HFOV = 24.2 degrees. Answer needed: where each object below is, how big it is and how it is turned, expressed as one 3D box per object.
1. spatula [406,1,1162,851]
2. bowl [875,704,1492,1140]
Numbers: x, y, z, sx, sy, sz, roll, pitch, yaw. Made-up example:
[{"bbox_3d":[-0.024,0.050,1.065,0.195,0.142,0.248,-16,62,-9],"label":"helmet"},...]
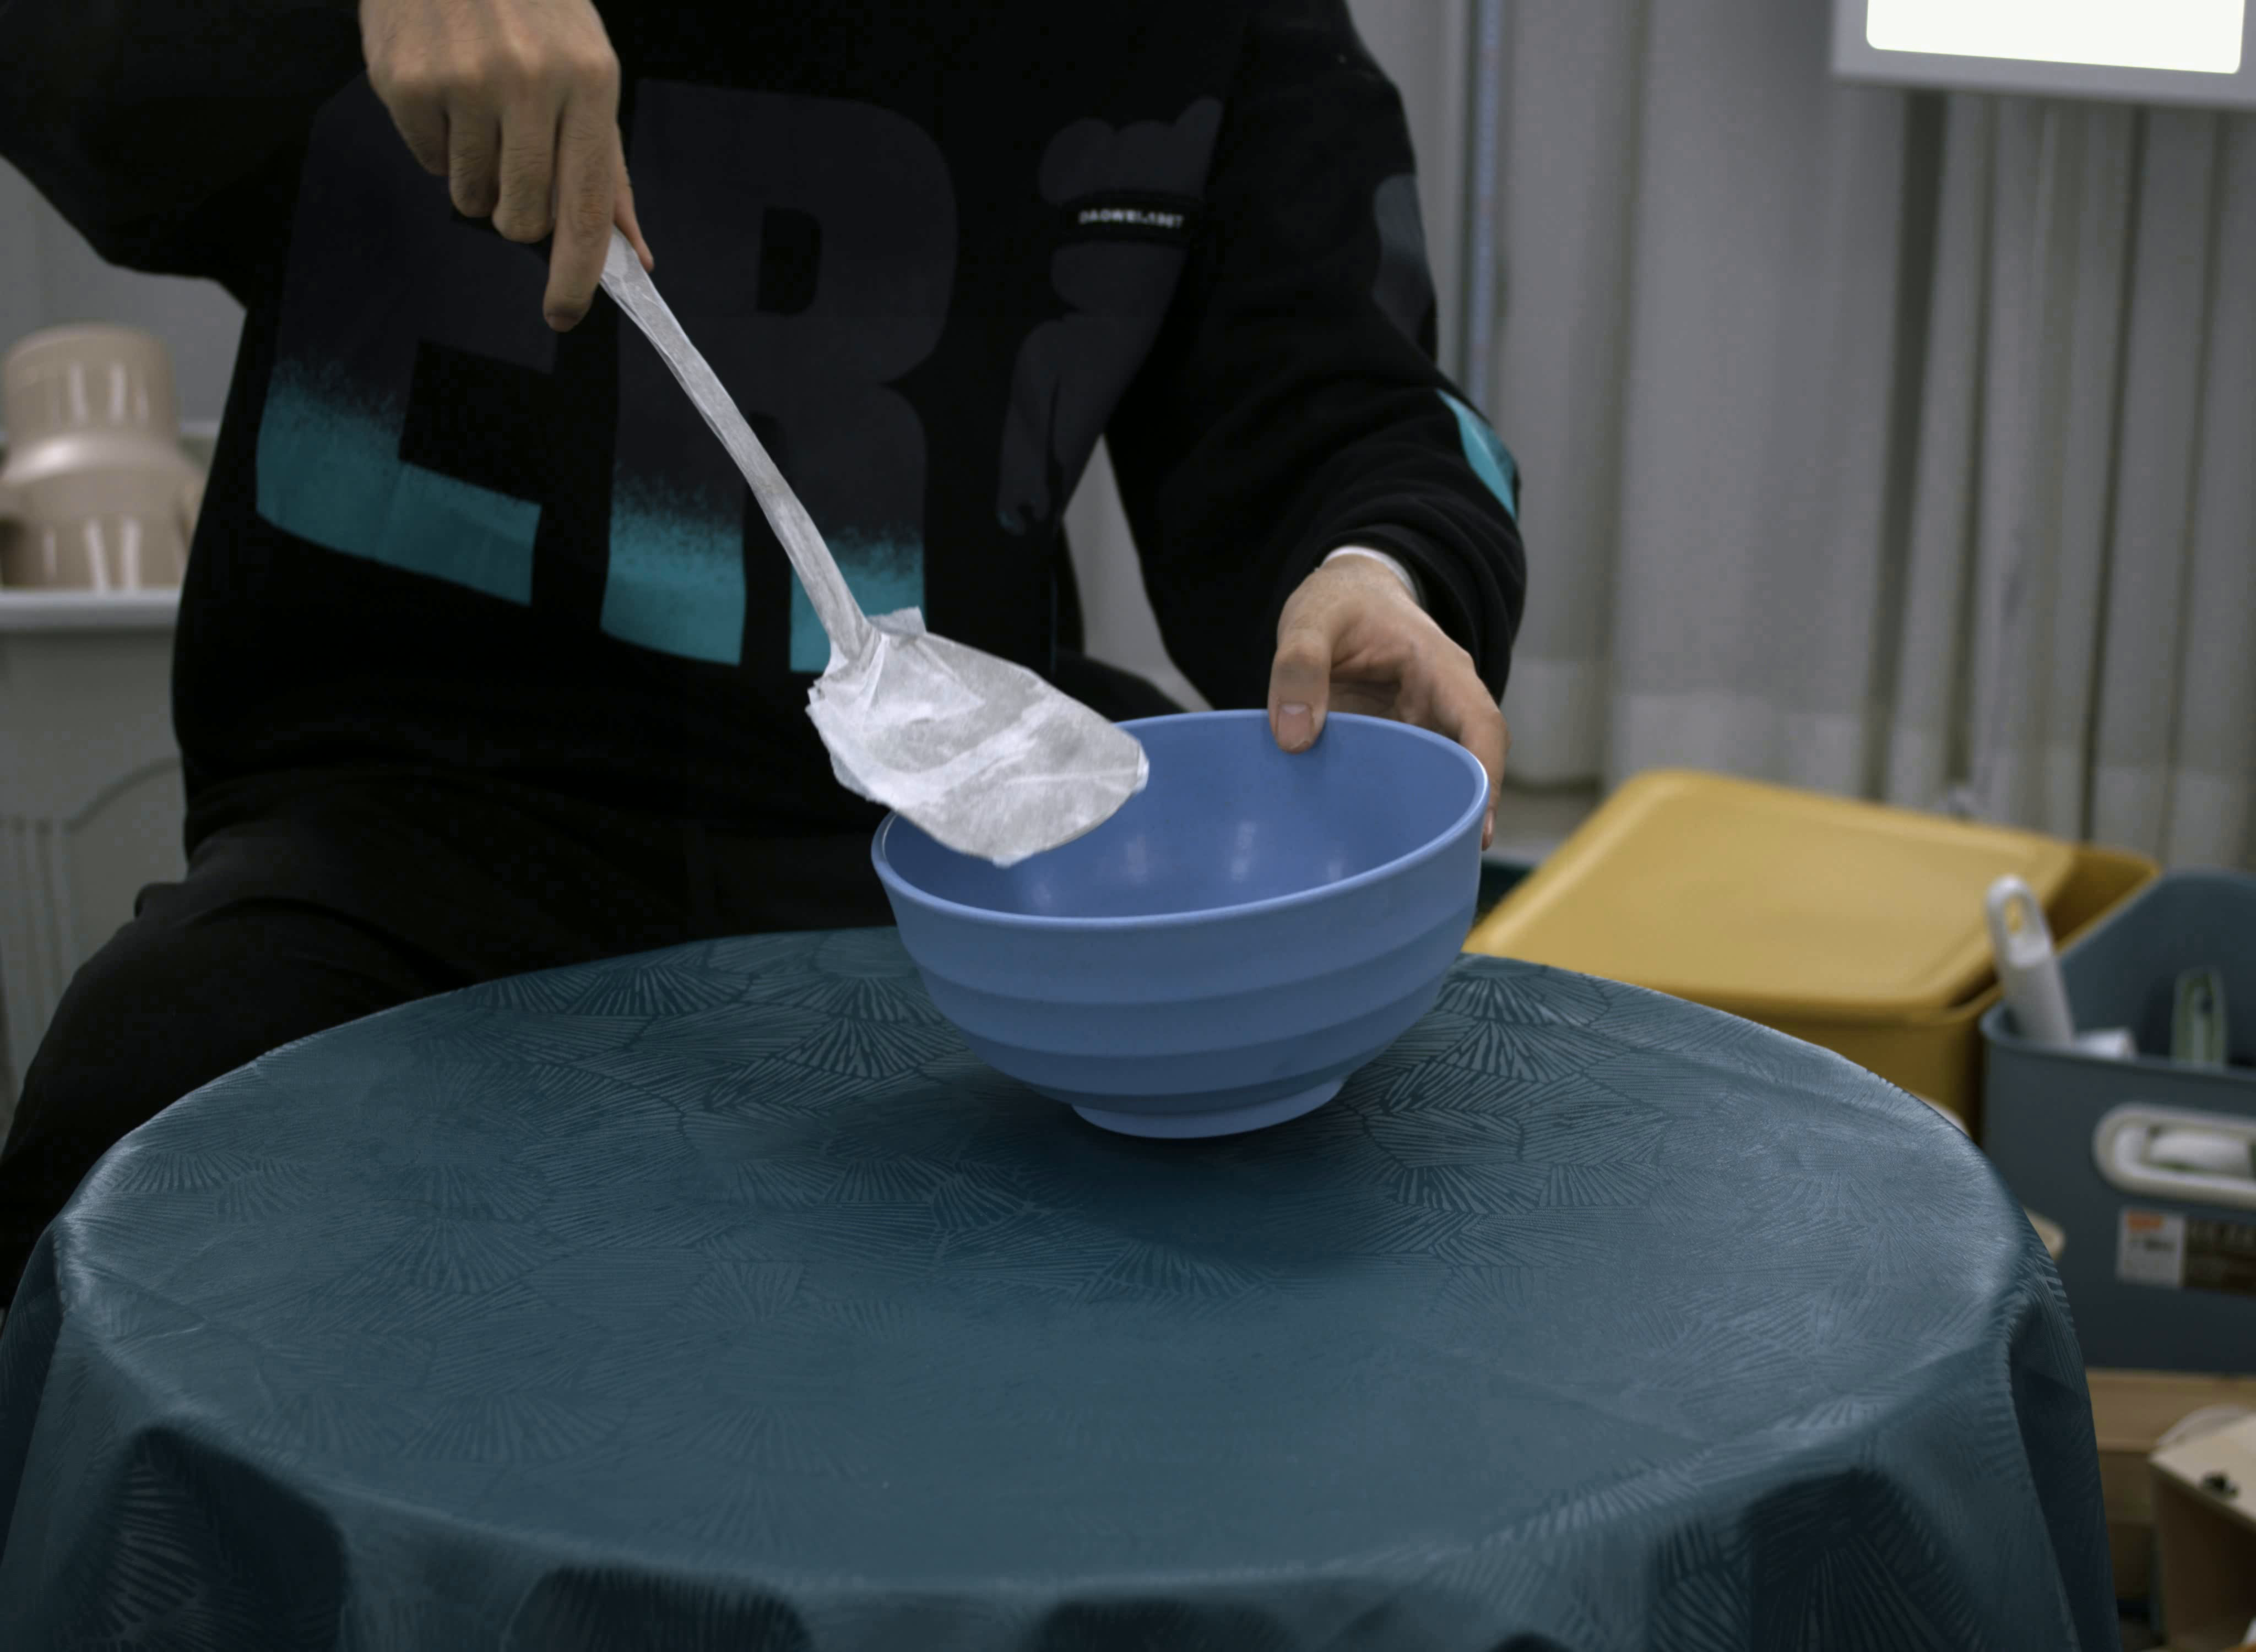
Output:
[{"bbox_3d":[-0.126,-0.136,1.689,0.099,0.364,0.045,-29,-10,-43],"label":"spatula"},{"bbox_3d":[0.022,0.038,1.676,0.196,0.096,0.195,-5,21,3],"label":"bowl"}]
